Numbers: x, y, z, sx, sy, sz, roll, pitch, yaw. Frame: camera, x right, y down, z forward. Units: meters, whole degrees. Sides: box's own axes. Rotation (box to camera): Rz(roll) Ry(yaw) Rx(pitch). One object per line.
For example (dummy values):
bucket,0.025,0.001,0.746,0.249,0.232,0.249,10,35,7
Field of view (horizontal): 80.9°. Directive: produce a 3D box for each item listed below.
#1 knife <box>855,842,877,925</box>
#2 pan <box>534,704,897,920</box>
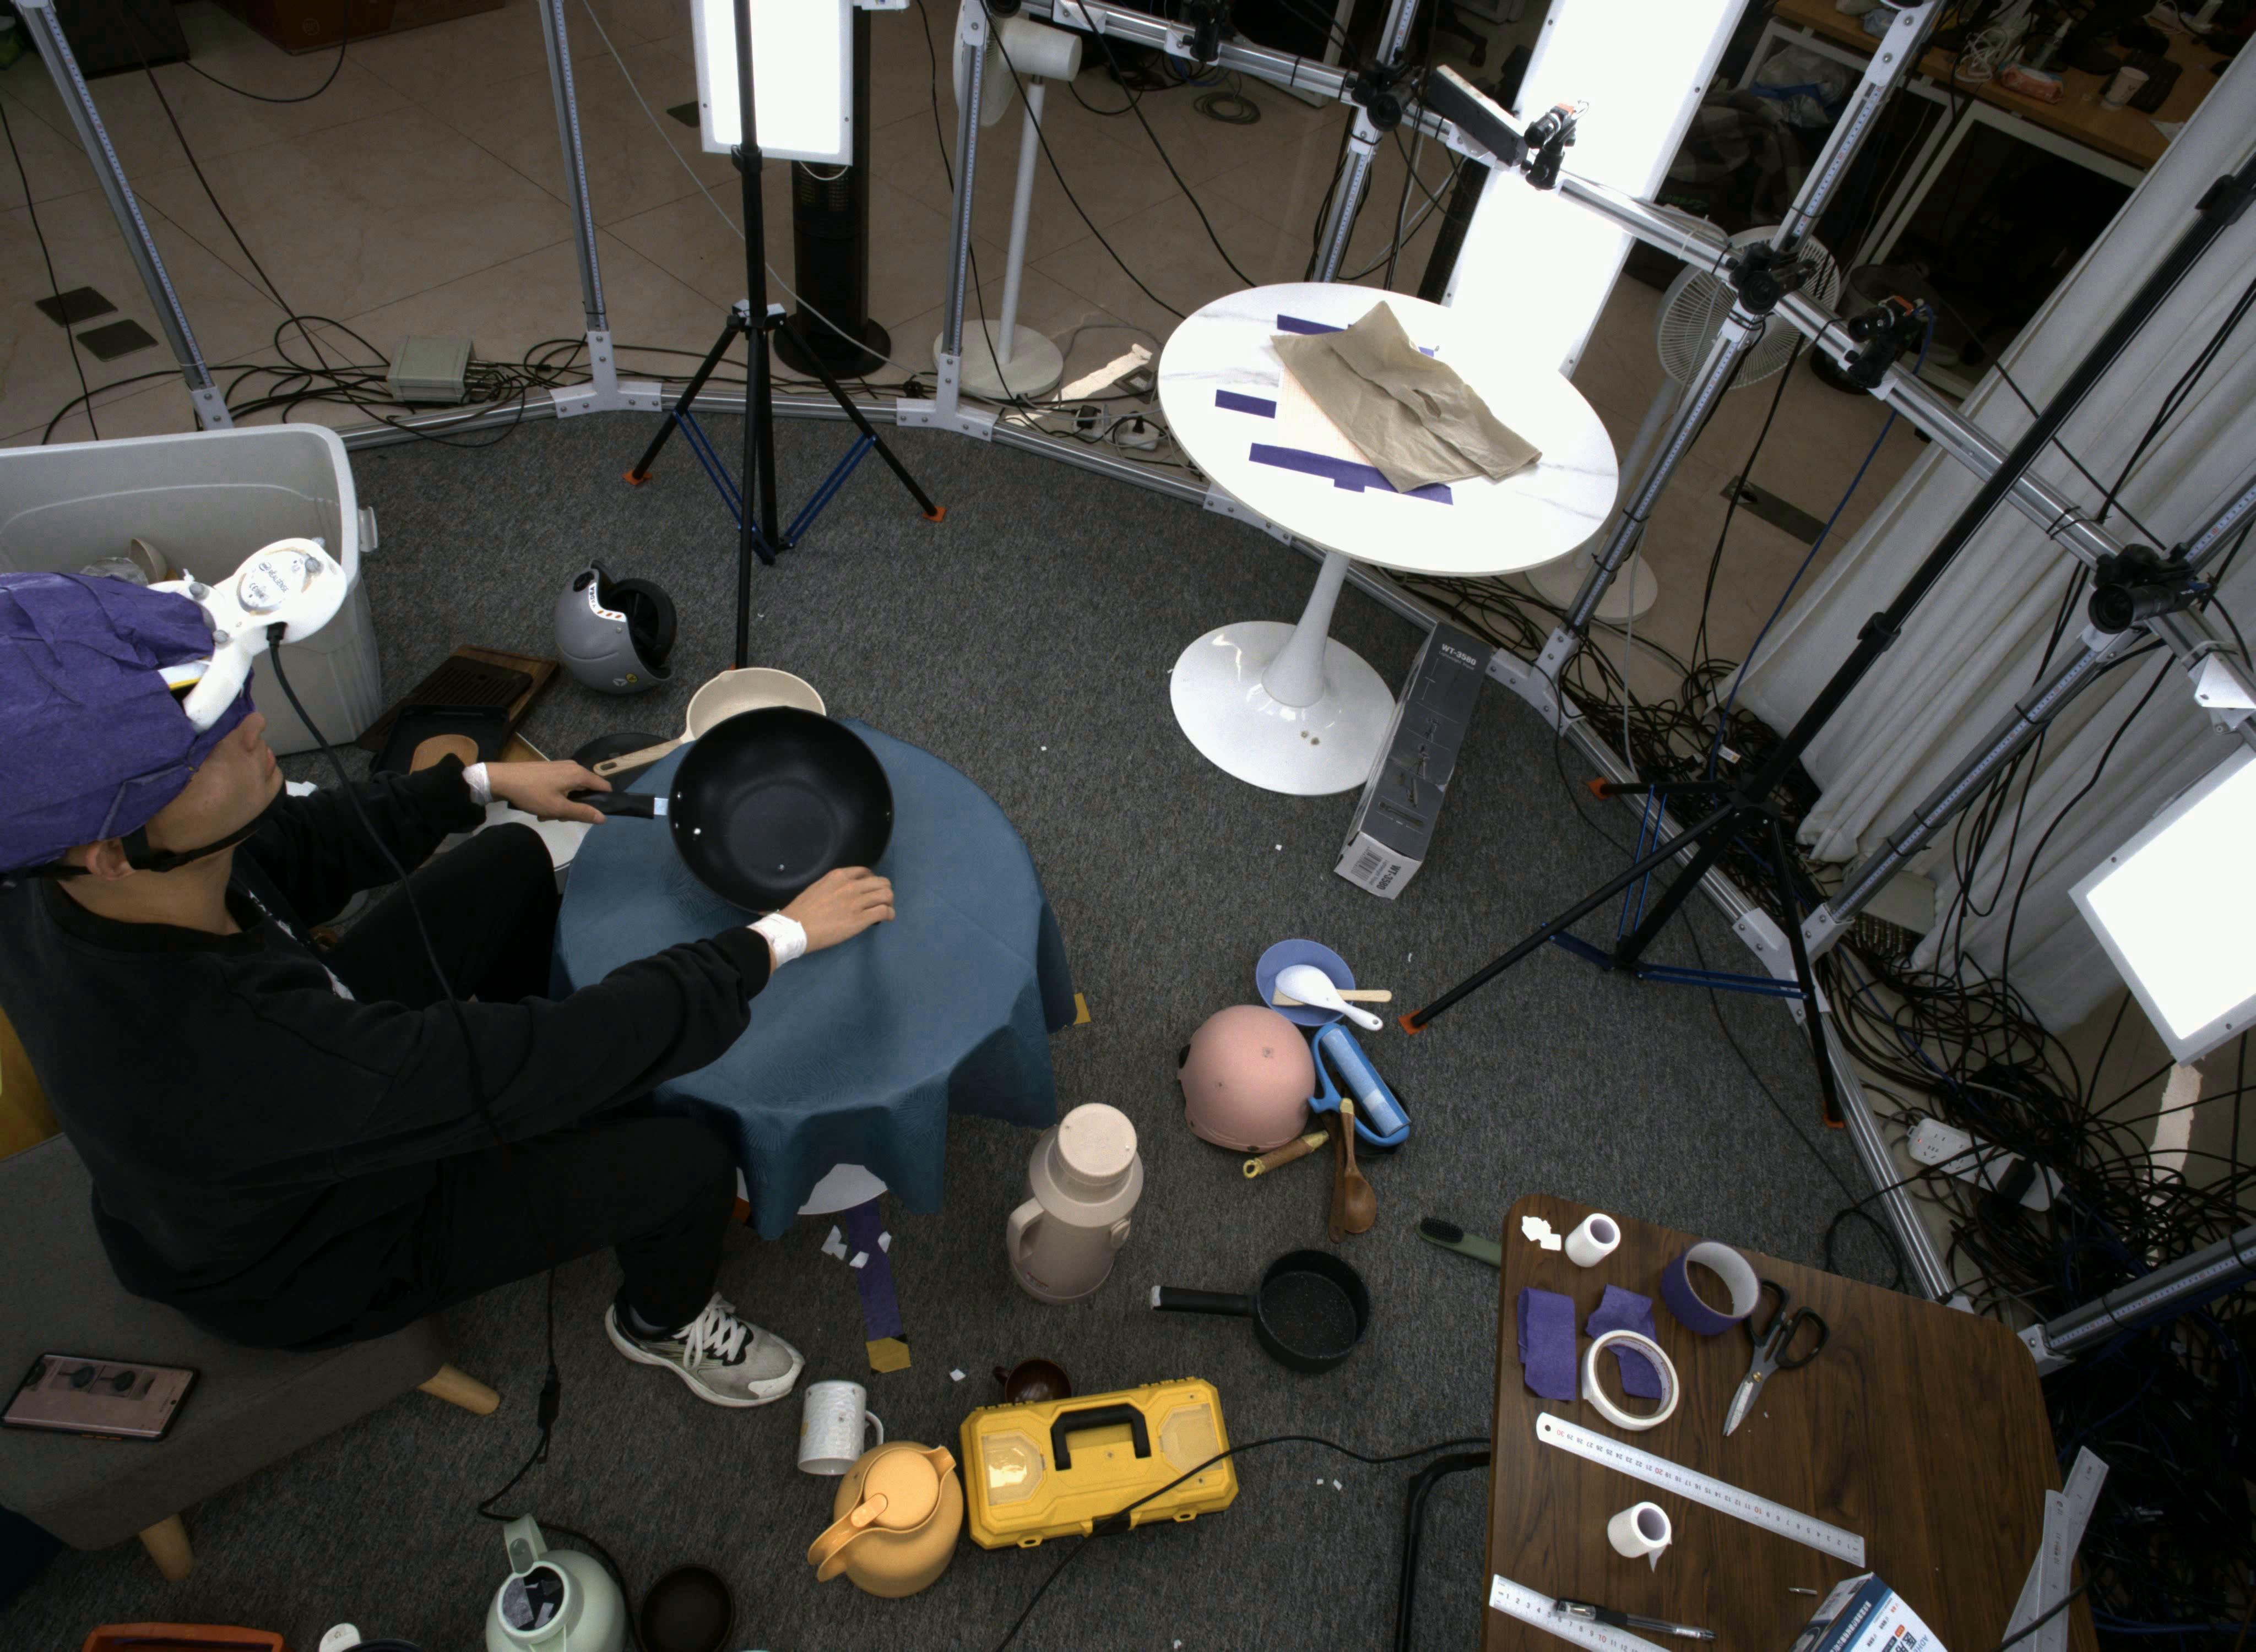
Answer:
knife,-0.317,0.064,1.568,0.027,0.017,0.219,28,14,-21
pan,-0.525,-0.012,1.620,0.466,0.087,0.286,2,69,-18
